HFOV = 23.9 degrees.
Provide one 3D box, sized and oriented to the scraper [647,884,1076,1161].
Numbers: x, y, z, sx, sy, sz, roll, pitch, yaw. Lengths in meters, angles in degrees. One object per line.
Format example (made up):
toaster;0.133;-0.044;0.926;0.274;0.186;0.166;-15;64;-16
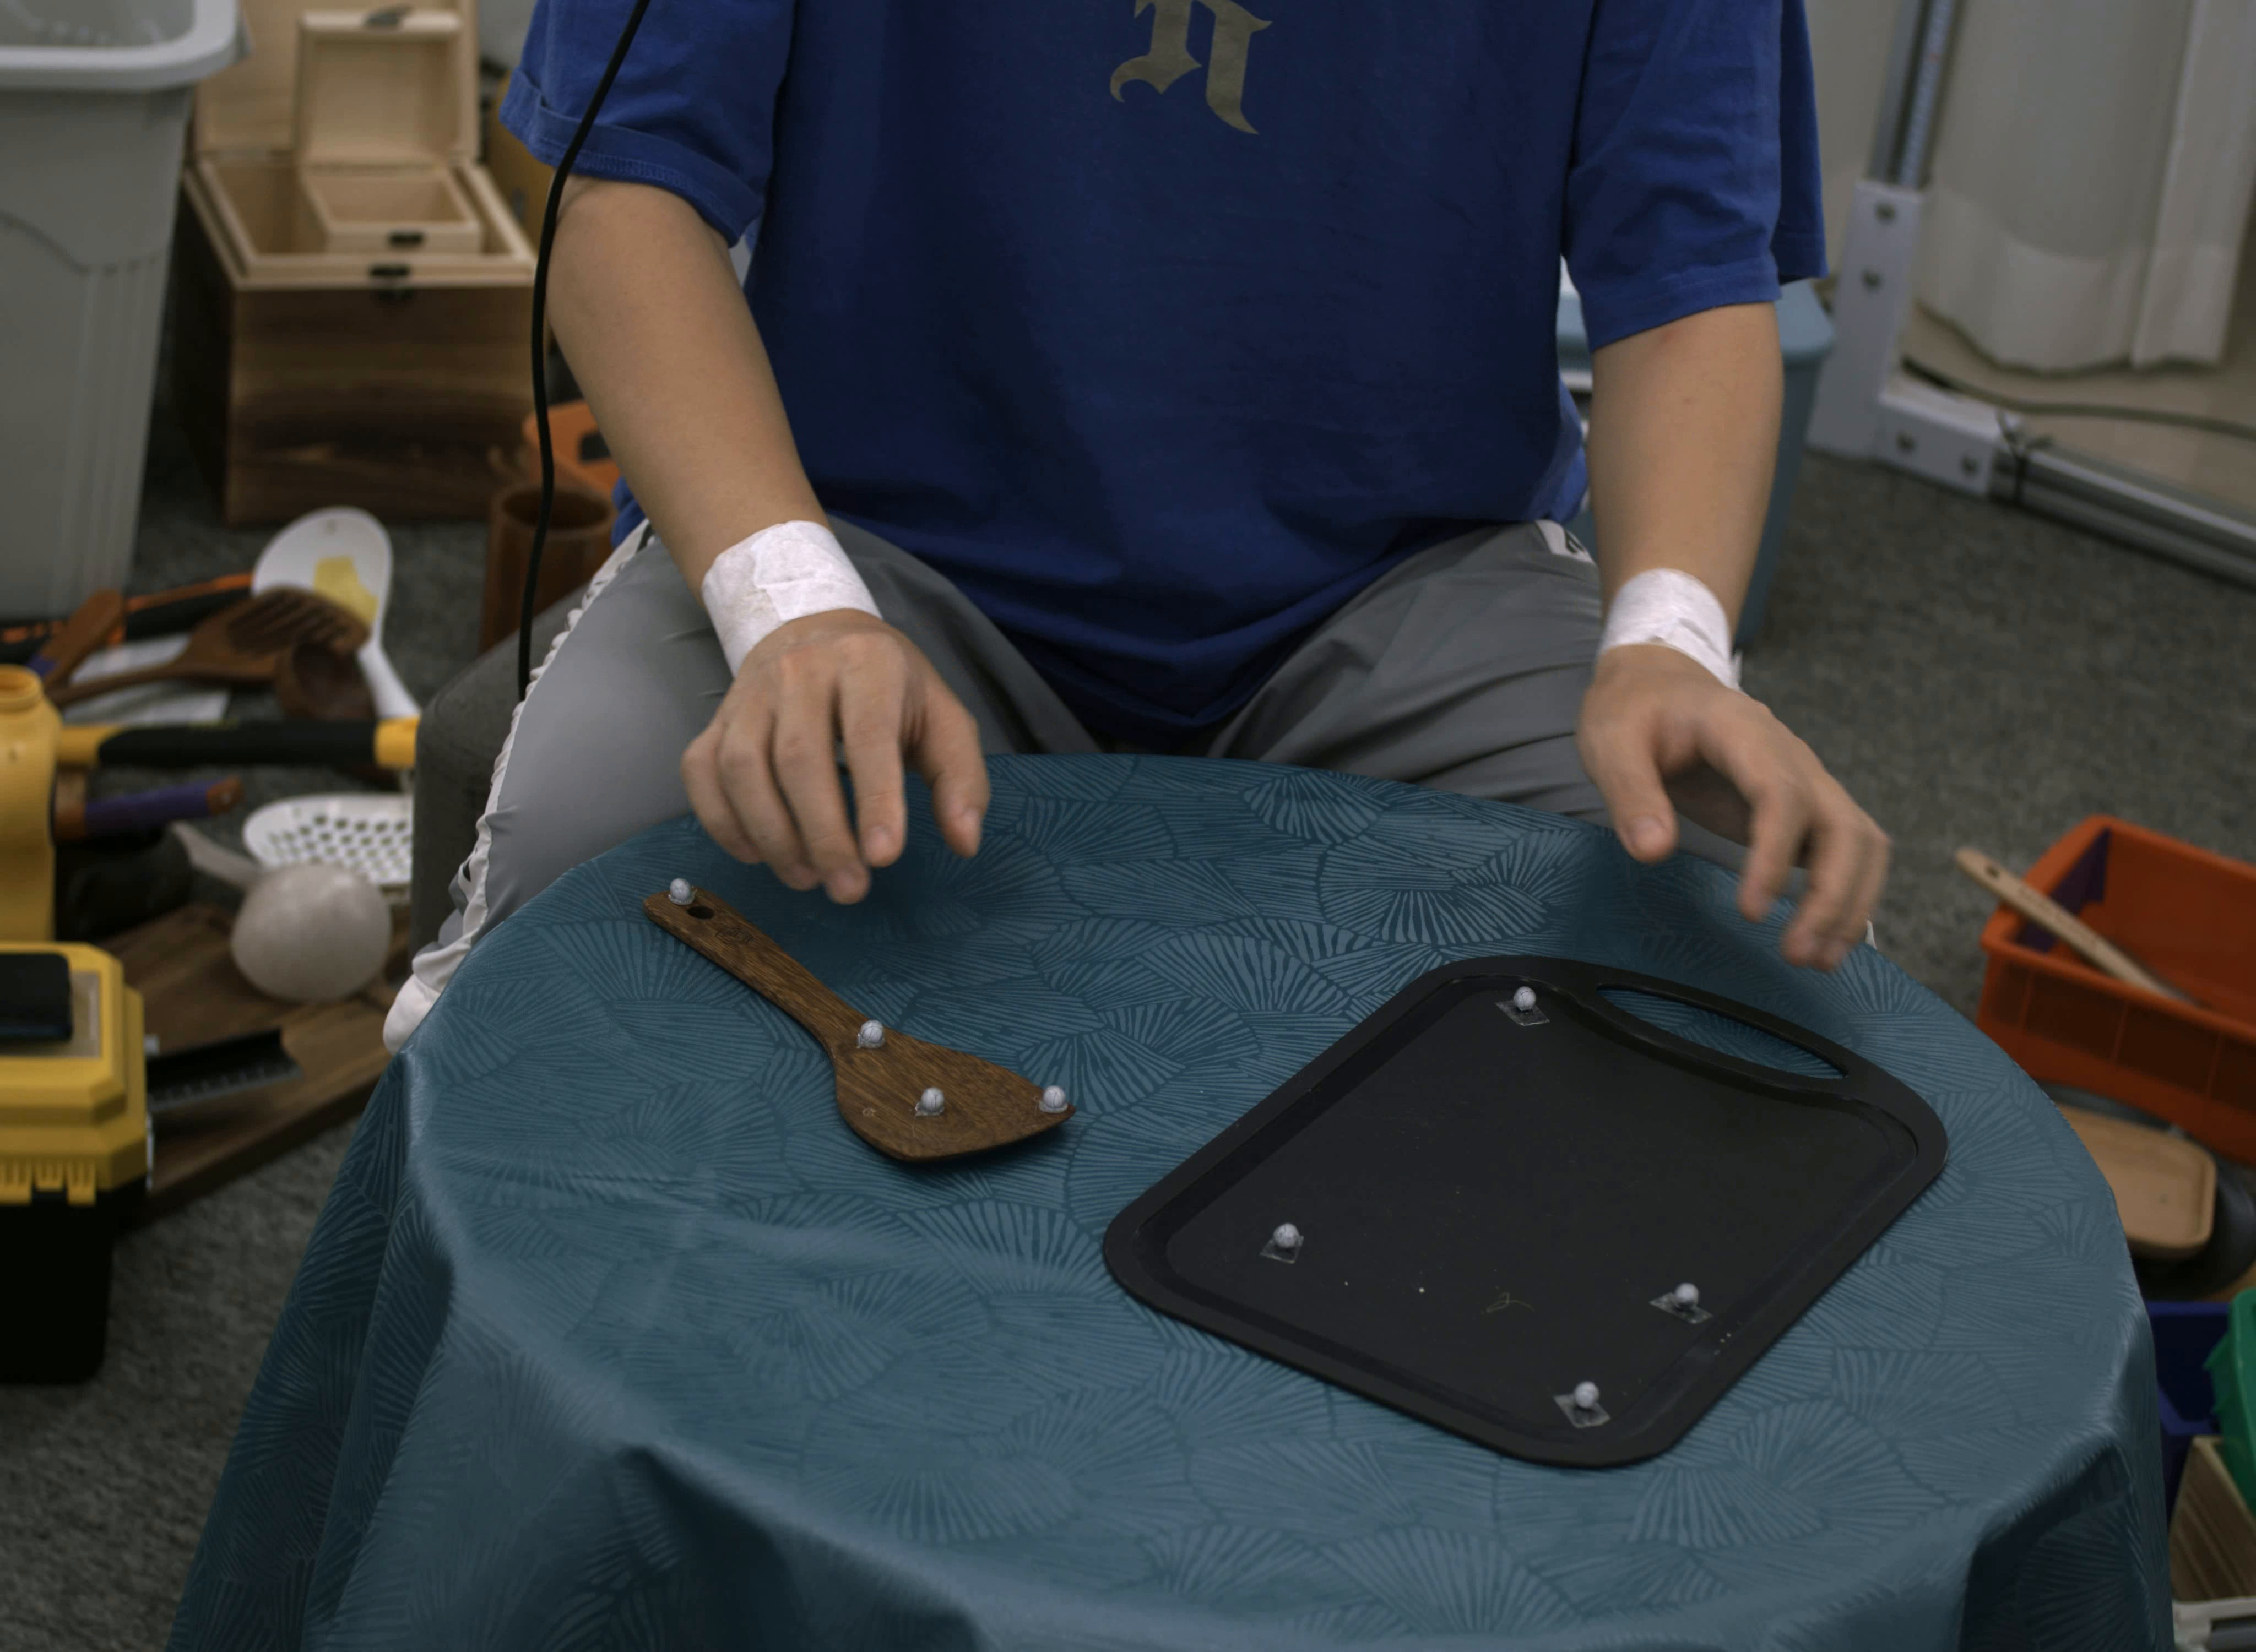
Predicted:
scraper;-0.105;0.067;1.881;0.075;0.011;0.213;-13;32;-35

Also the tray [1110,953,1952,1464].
tray;0.147;0.120;1.836;0.212;0.010;0.325;20;30;25
